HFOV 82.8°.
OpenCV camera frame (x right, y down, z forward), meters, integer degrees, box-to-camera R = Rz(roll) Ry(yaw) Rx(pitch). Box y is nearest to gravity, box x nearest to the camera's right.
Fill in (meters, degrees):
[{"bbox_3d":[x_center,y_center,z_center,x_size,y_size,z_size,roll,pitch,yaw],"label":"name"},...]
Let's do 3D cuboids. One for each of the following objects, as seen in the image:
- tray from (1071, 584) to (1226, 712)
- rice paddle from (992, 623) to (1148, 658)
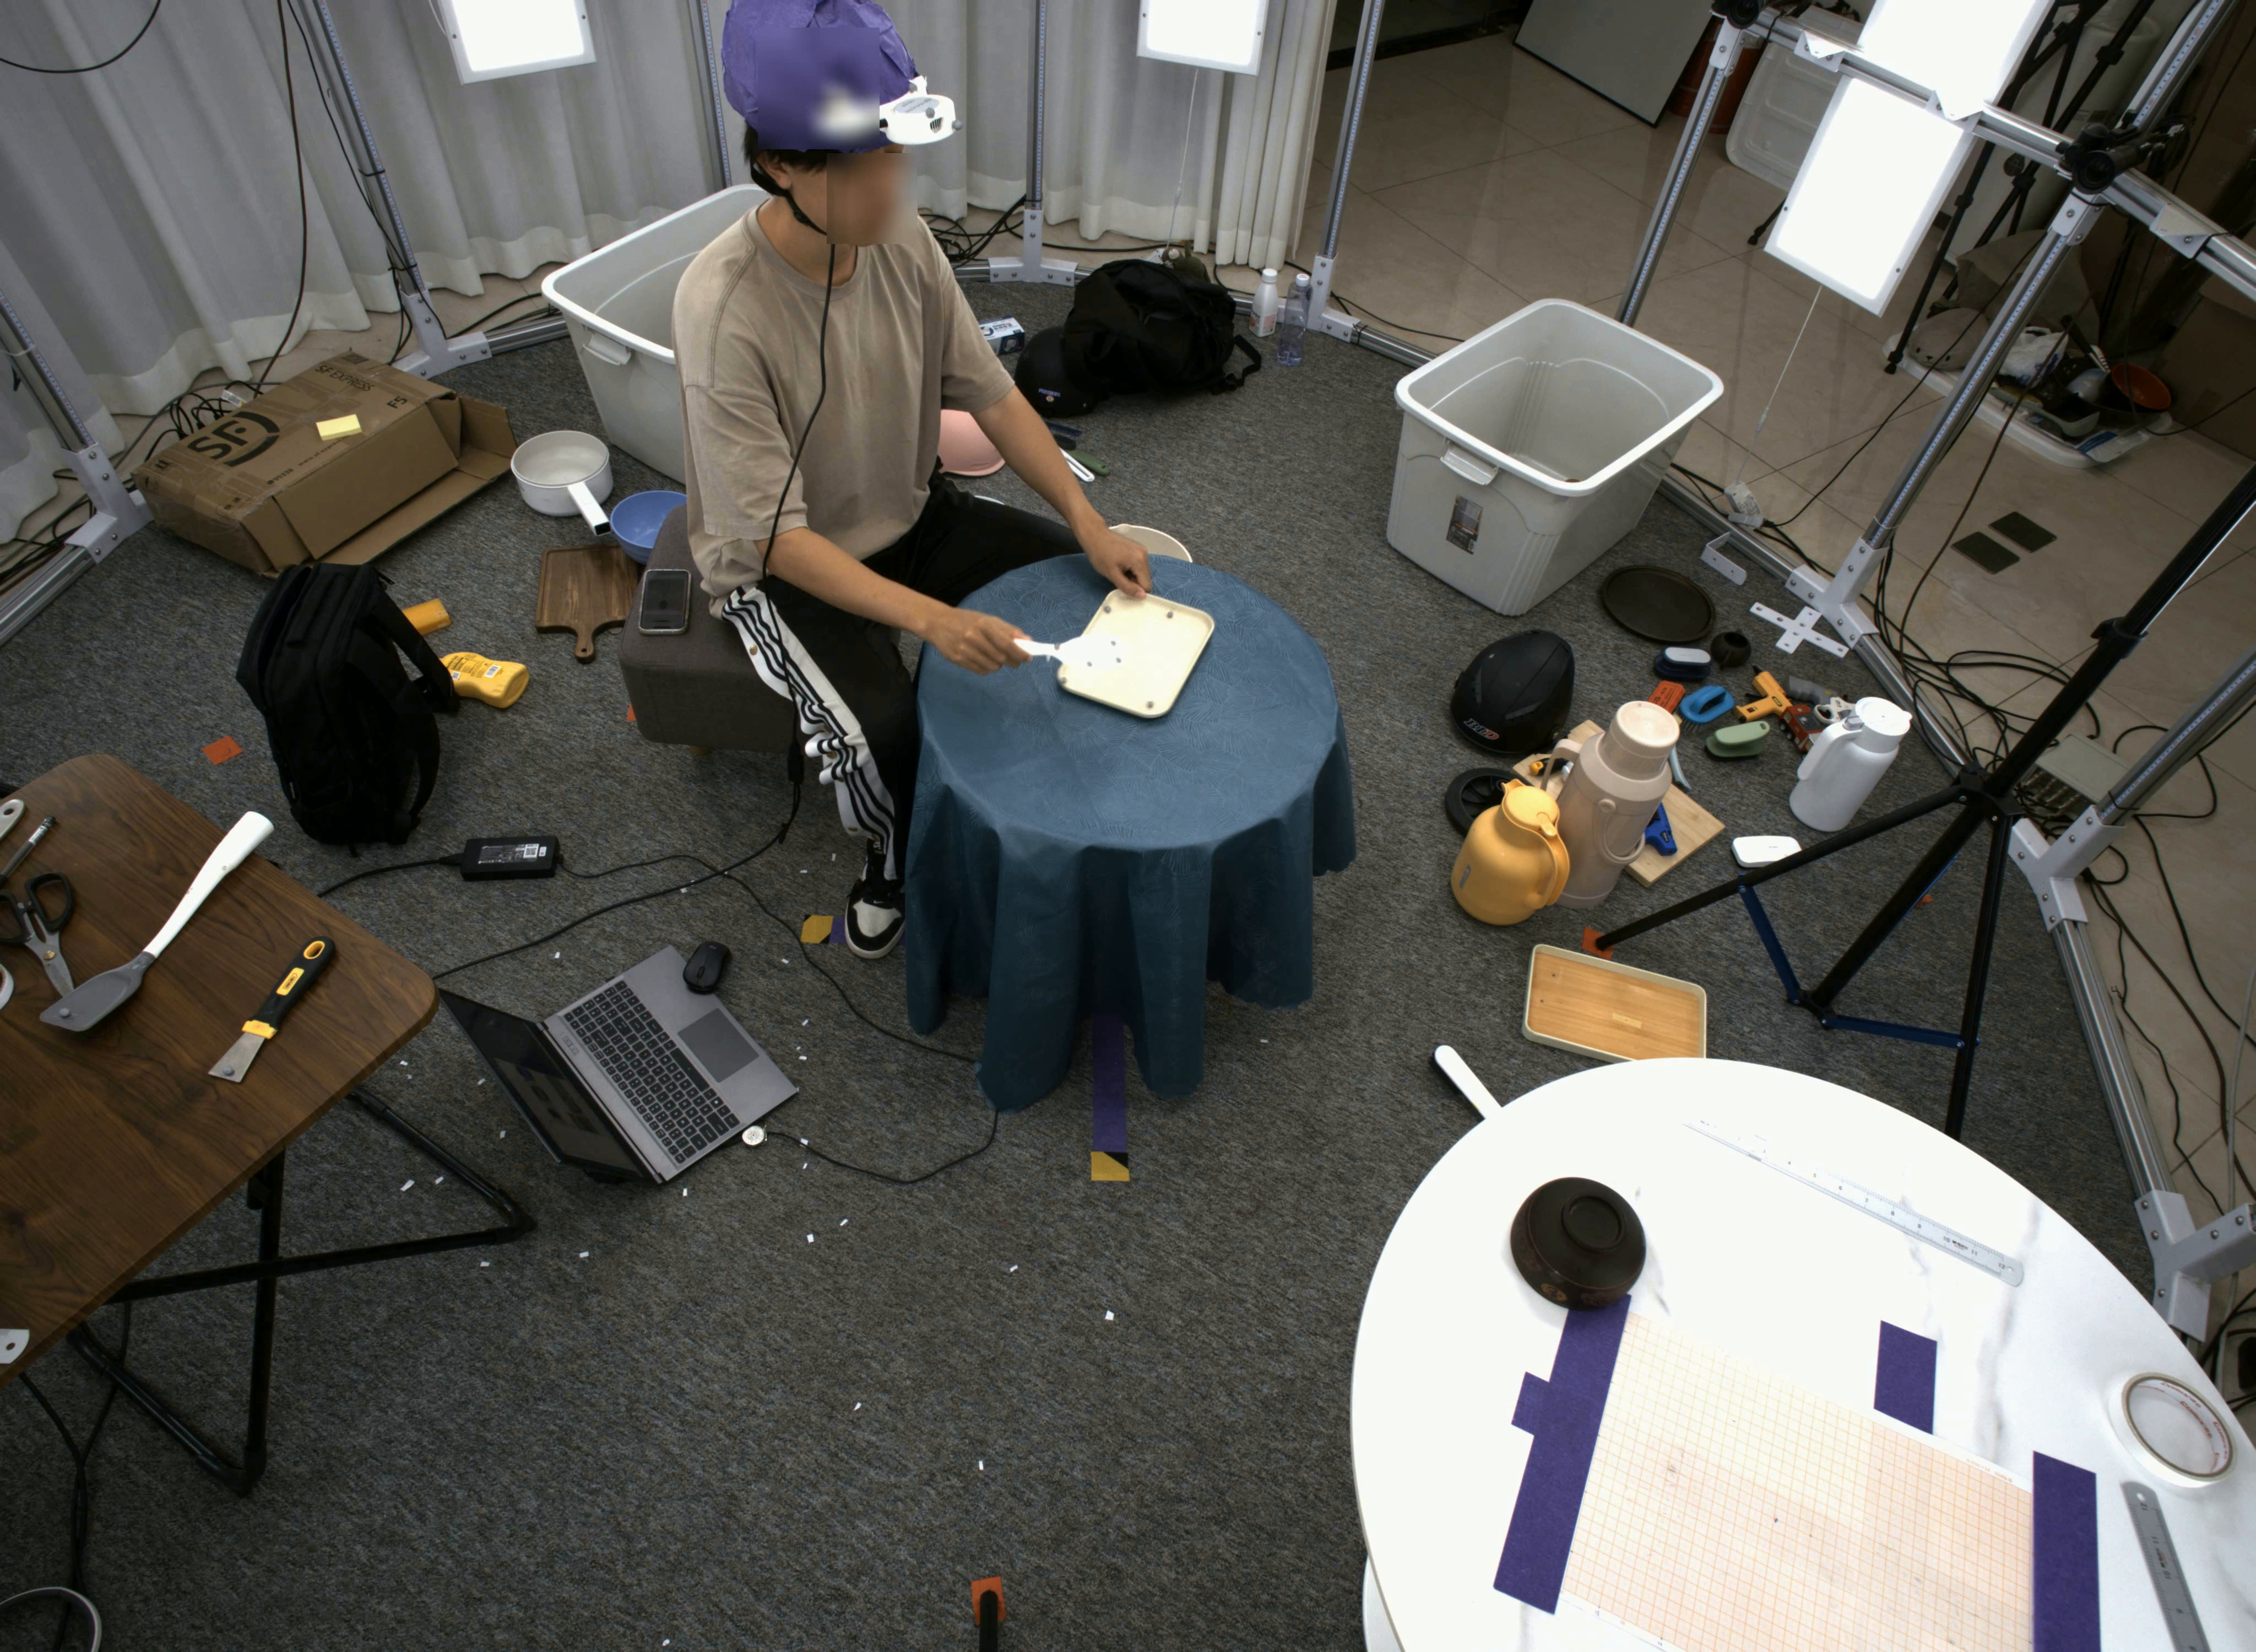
[{"bbox_3d":[0.032,-0.261,1.872,0.172,0.017,0.244,20,50,12],"label":"tray"},{"bbox_3d":[-0.075,-0.248,1.693,0.205,0.029,0.070,3,48,8],"label":"rice paddle"}]
